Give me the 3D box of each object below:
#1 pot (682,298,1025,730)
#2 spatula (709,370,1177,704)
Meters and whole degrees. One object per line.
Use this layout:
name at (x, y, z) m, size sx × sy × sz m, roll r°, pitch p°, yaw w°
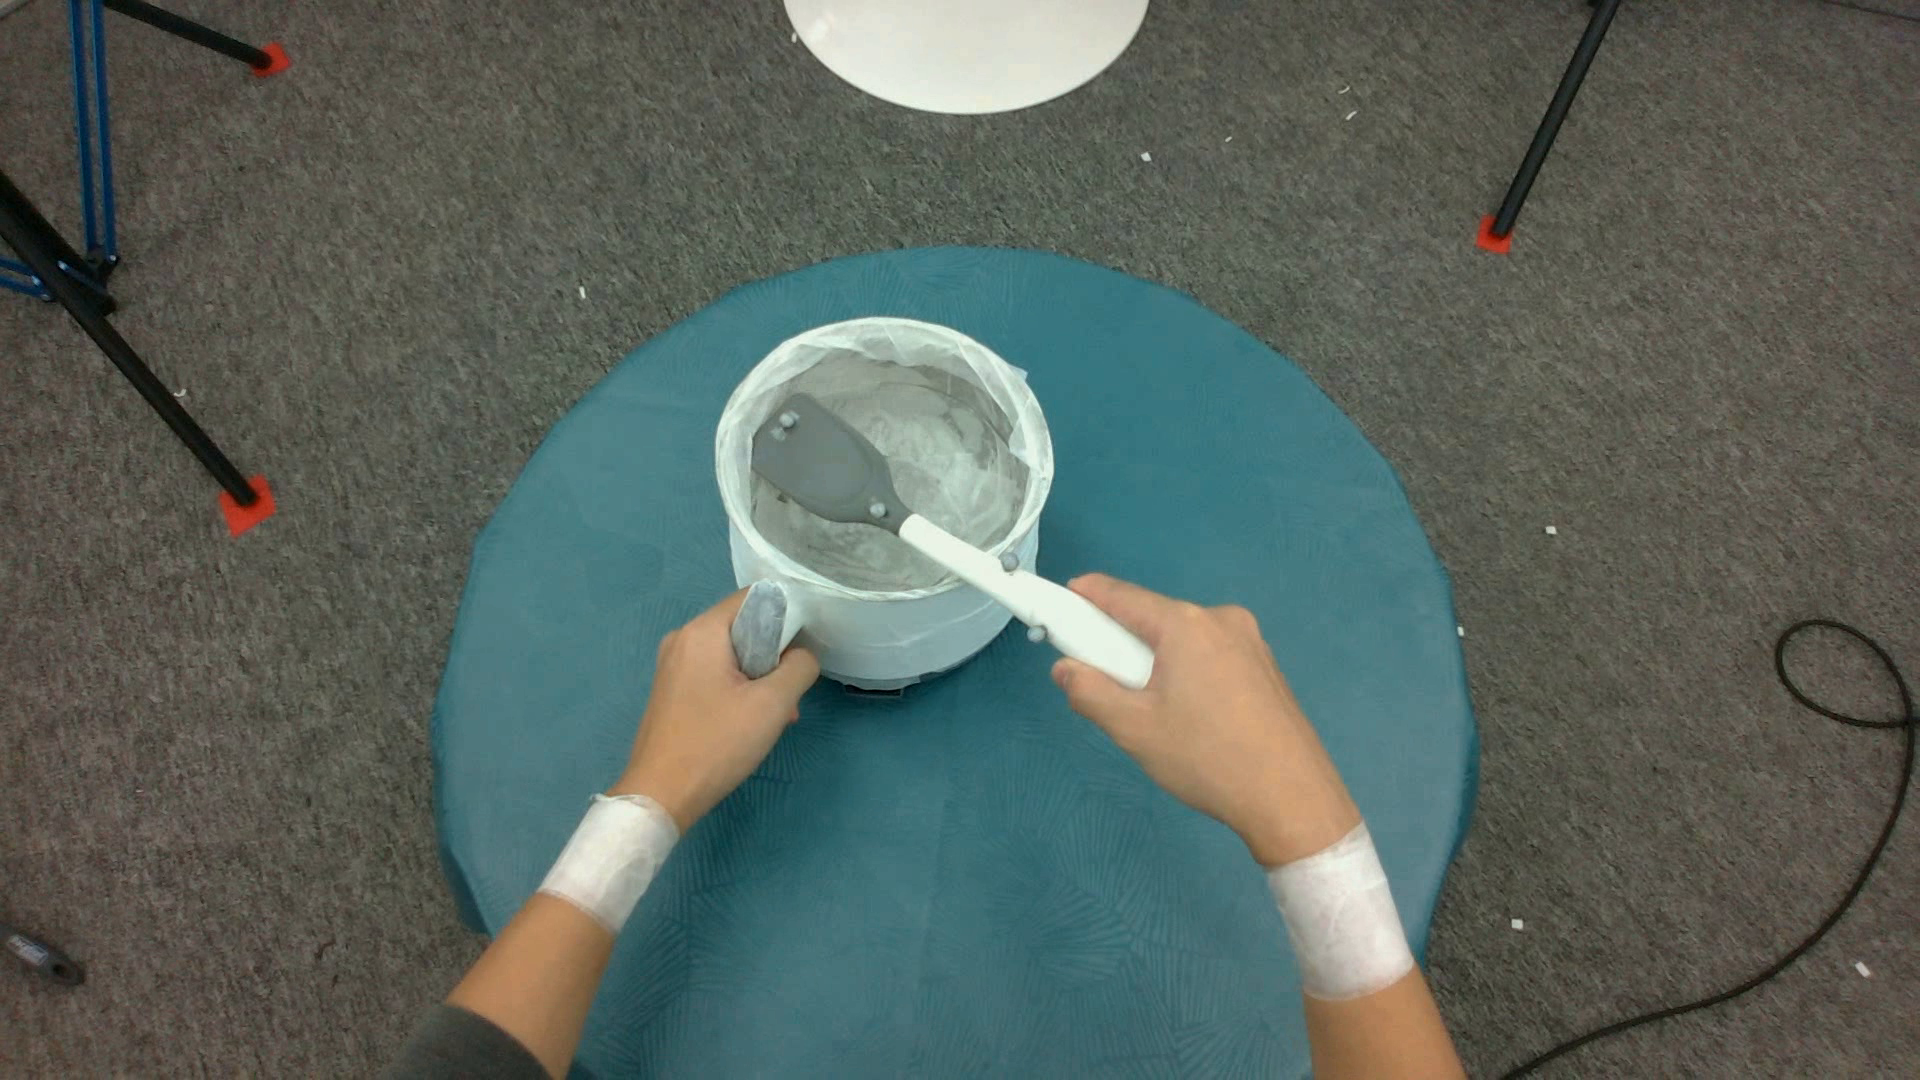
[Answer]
pot at (-0.072, -0.005, 0.761) m, size 0.179 × 0.136 × 0.235 m, roll 29°, pitch 63°, yaw 12°
spatula at (-0.017, -0.006, 0.674) m, size 0.287 × 0.032 × 0.059 m, roll 32°, pitch 78°, yaw 32°
